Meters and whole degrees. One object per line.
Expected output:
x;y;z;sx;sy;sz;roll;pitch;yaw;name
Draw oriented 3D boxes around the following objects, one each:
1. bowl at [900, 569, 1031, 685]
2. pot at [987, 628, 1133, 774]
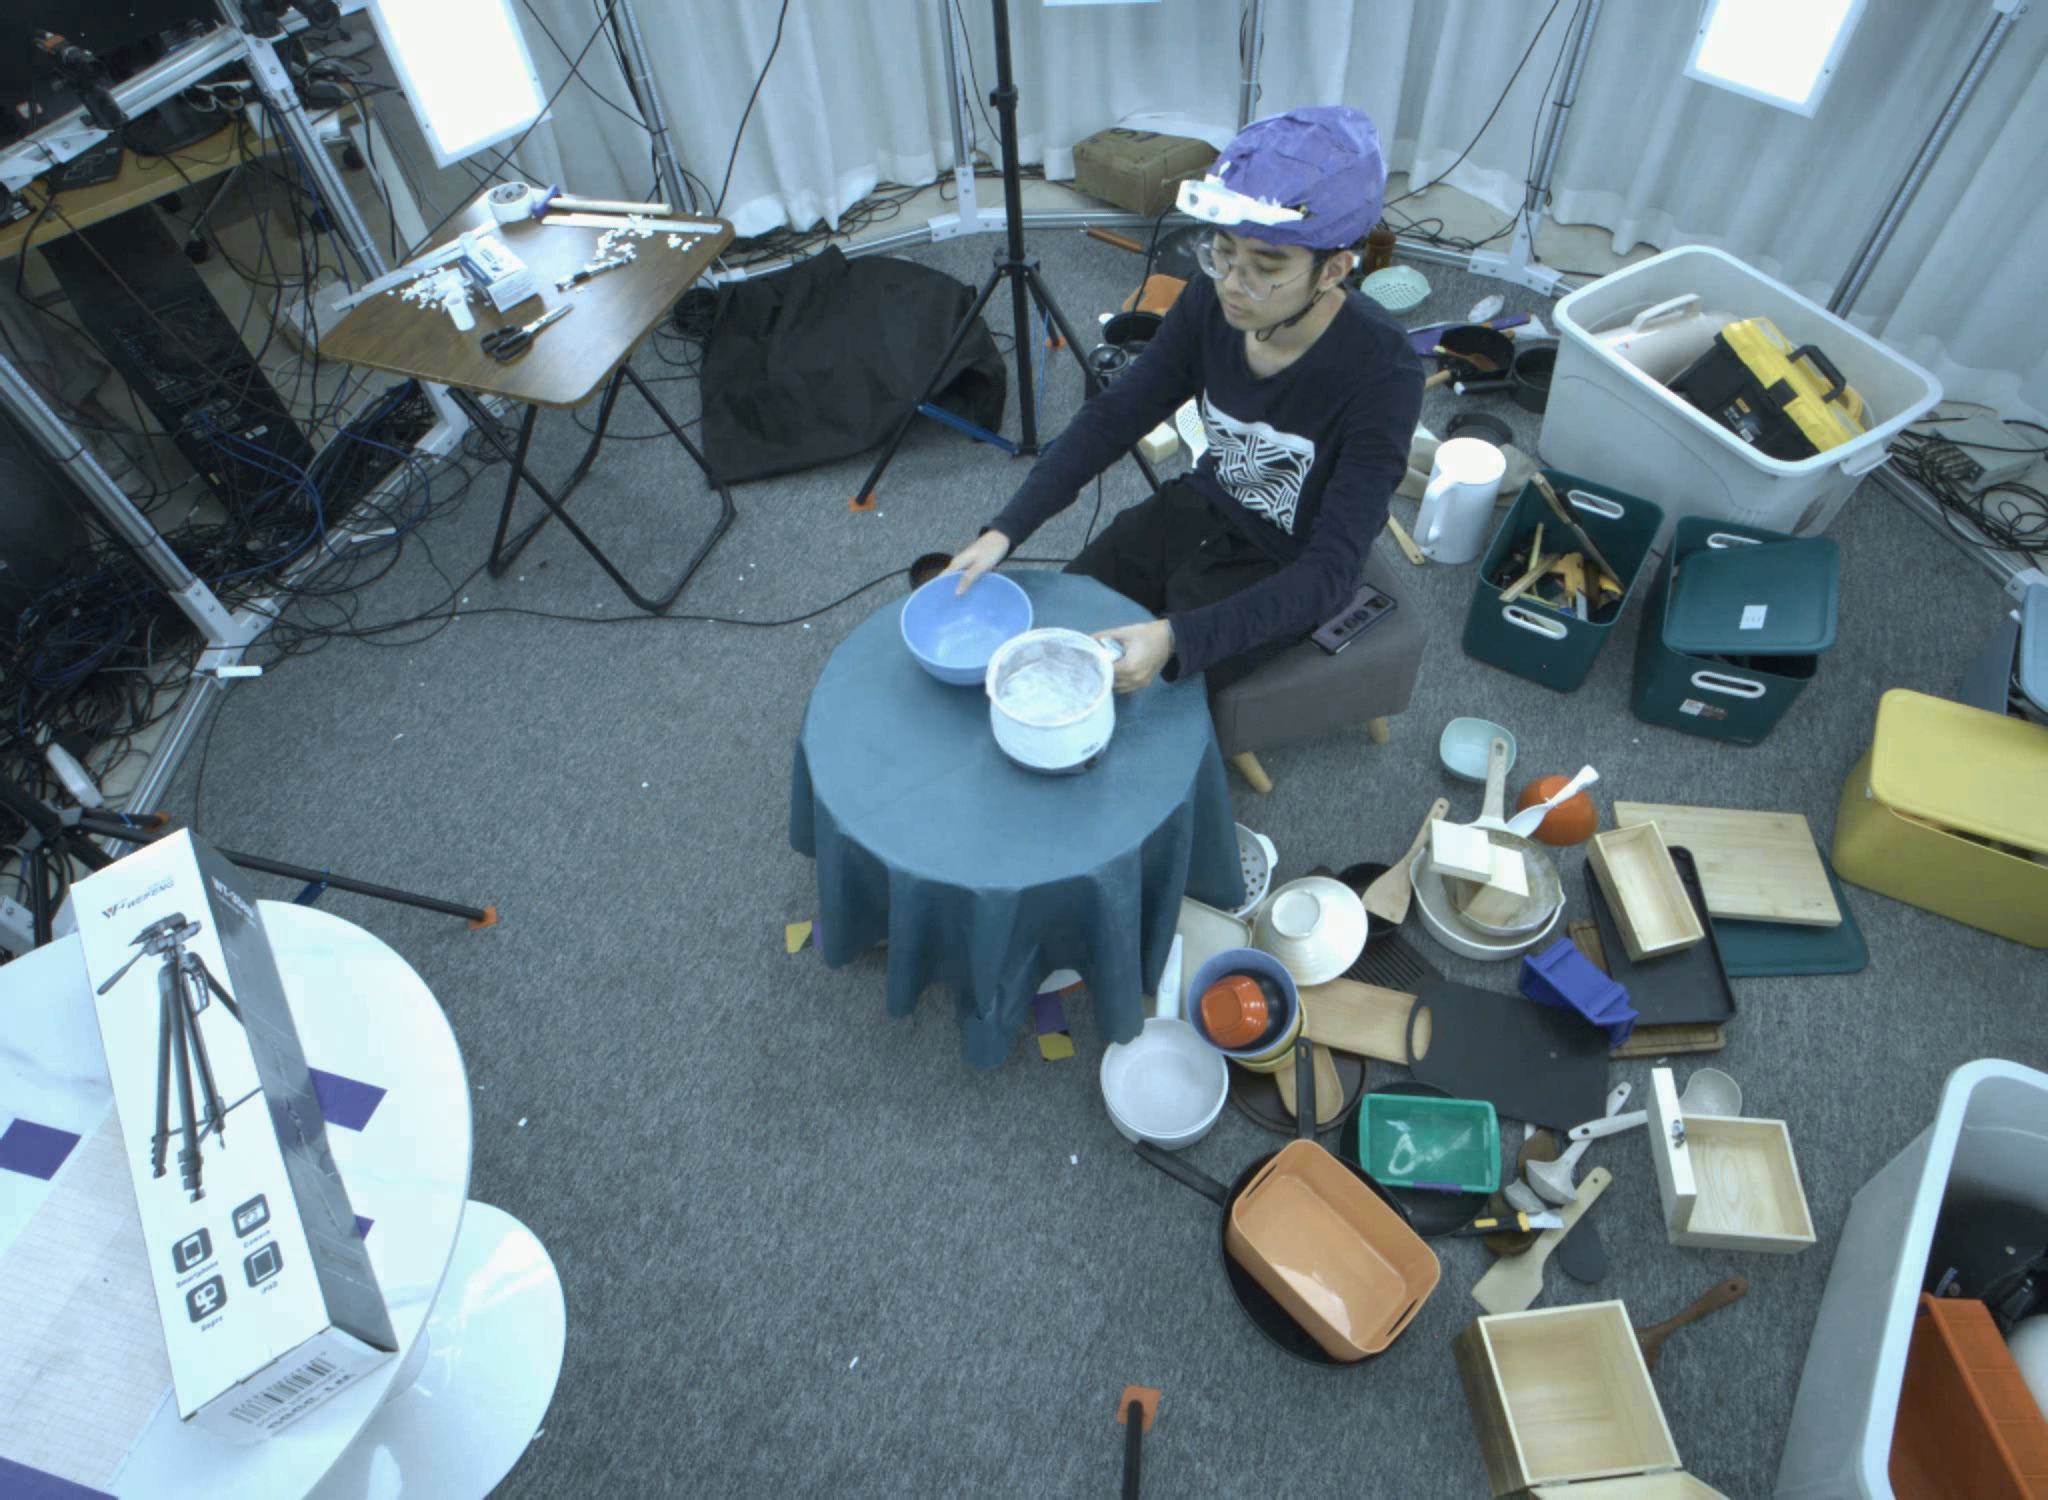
-0.083;-0.171;1.856;0.196;0.096;0.194;-2;56;5;bowl
0.061;-0.080;1.766;0.235;0.138;0.175;-35;63;-21;pot
